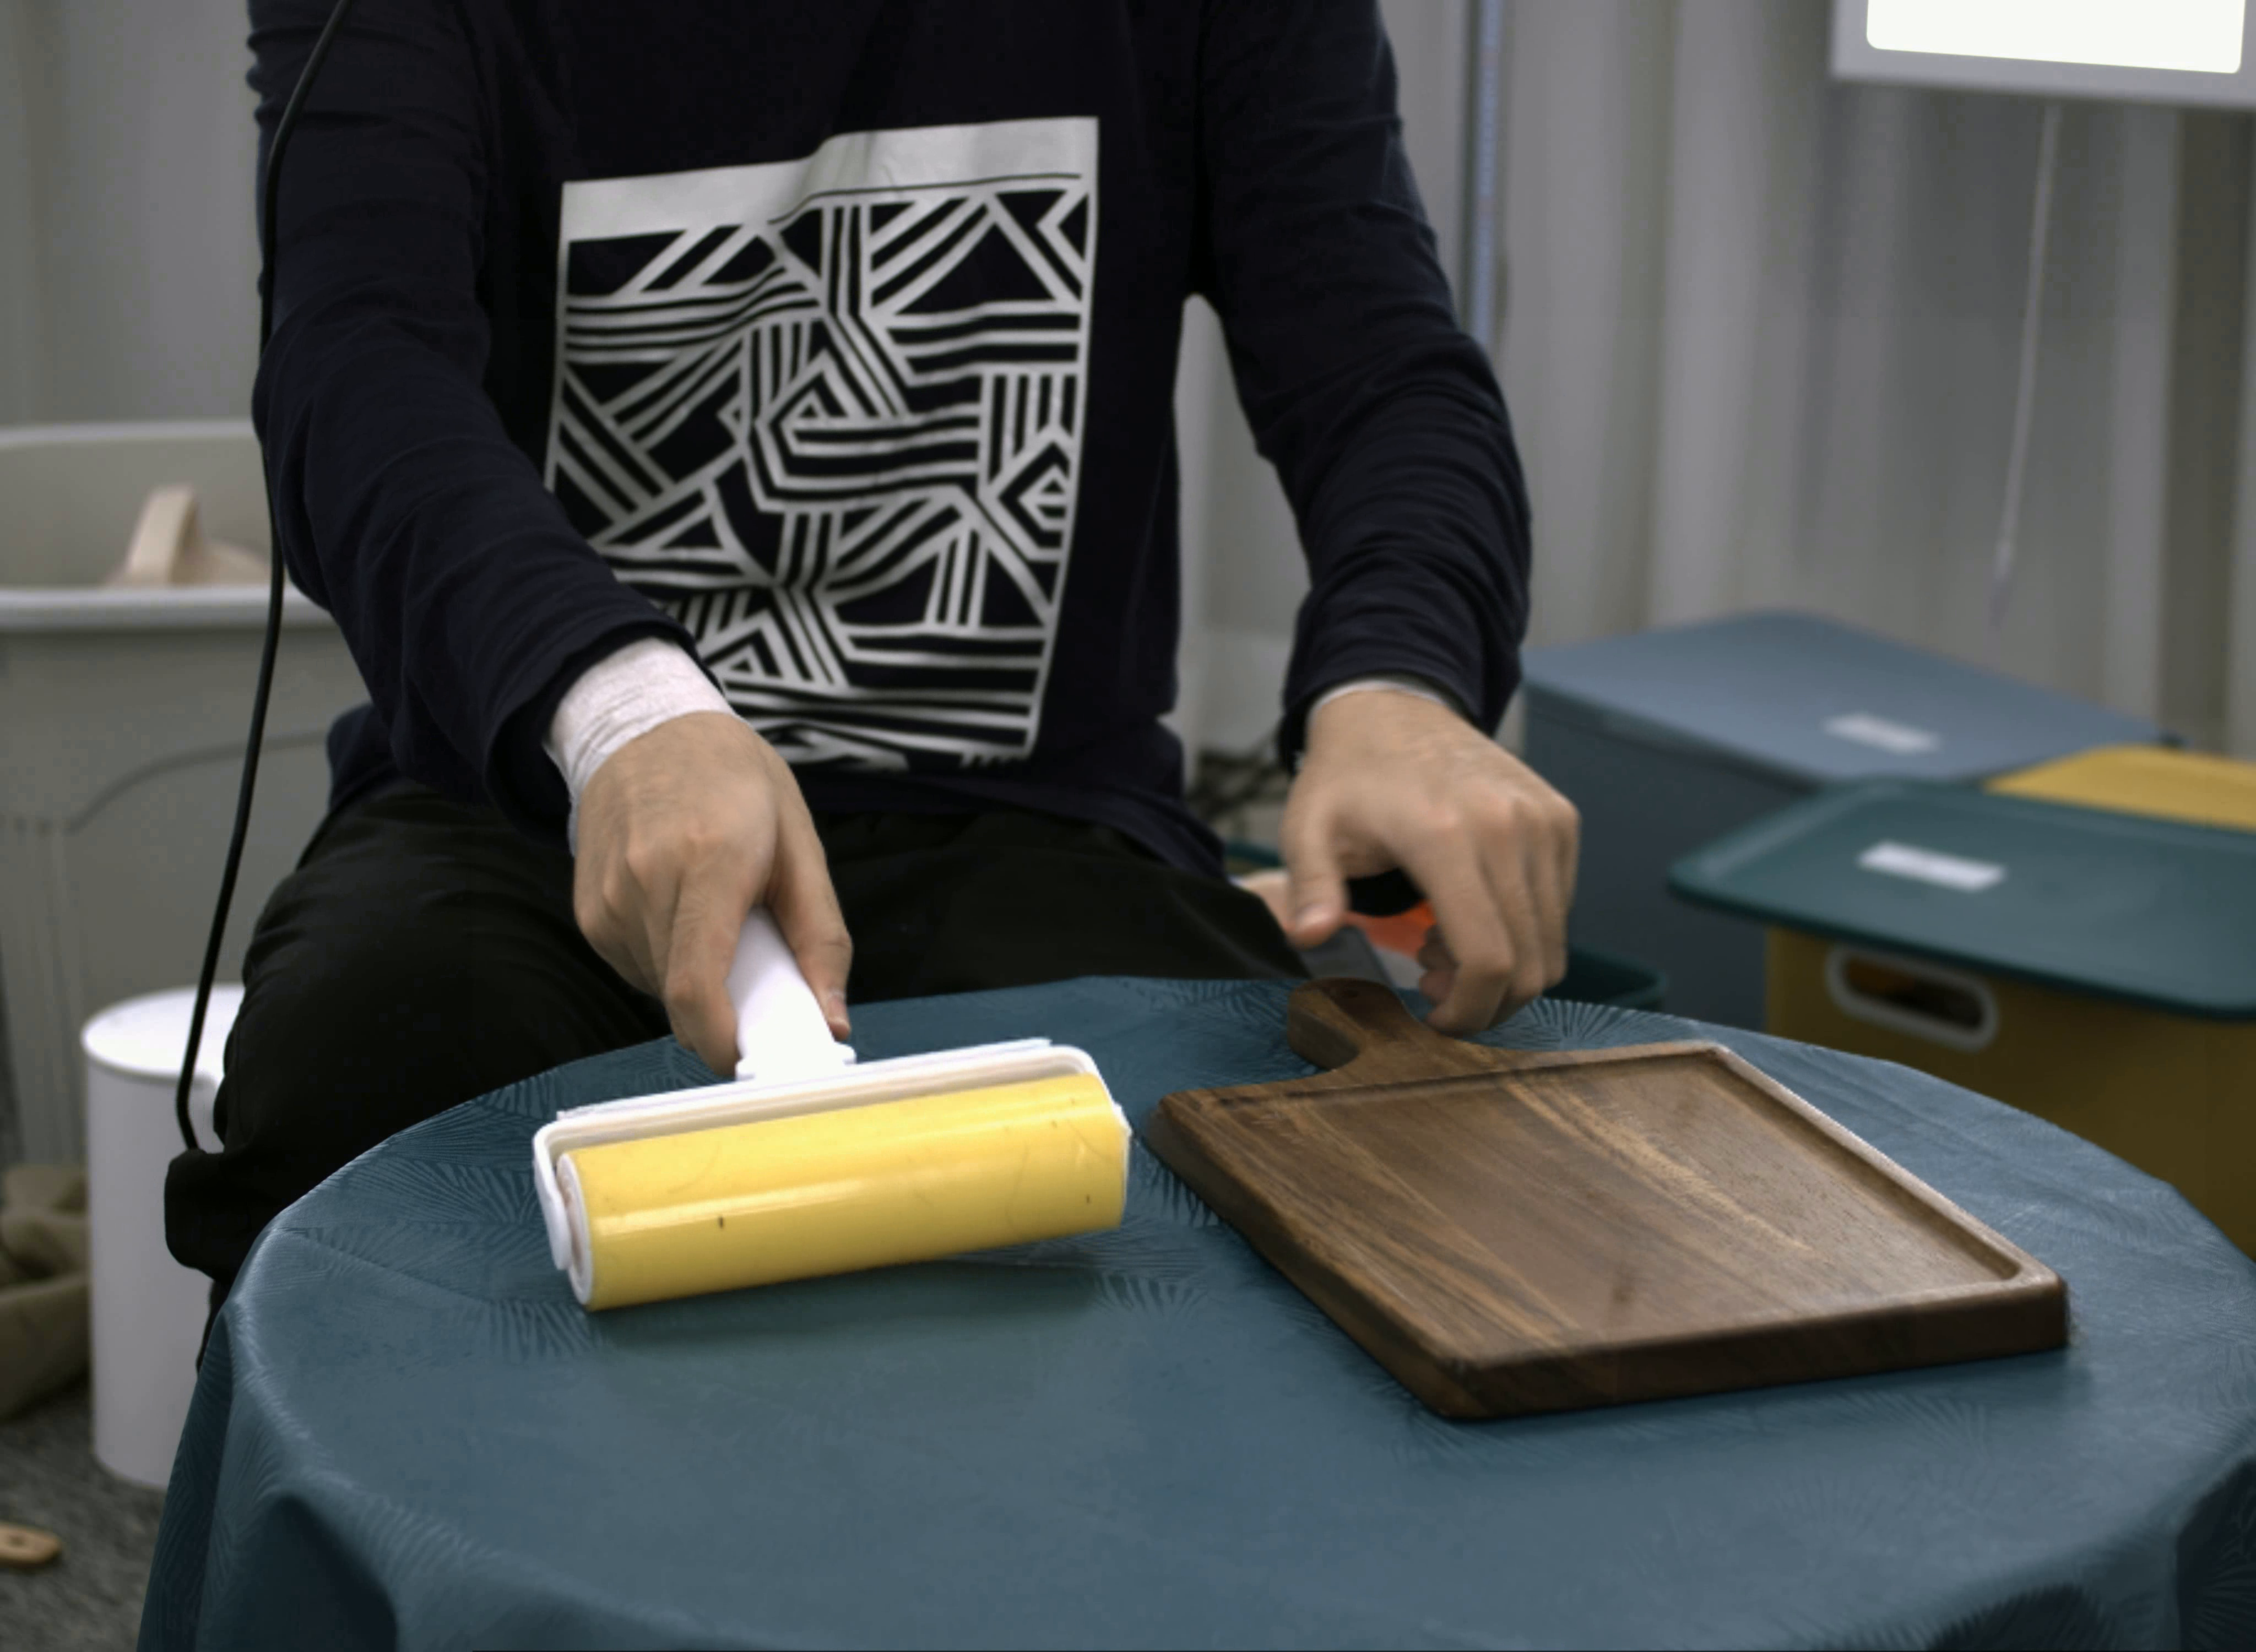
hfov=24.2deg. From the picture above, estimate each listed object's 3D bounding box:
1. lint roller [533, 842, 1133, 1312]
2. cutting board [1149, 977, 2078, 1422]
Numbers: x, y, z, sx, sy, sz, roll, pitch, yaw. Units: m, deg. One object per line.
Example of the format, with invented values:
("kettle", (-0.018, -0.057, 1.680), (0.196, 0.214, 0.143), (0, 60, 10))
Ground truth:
("lint roller", (-0.105, 0.059, 1.581), (0.174, 0.052, 0.190), (-7, 47, -18))
("cutting board", (0.123, 0.104, 1.622), (0.201, 0.023, 0.348), (-4, 16, -19))
